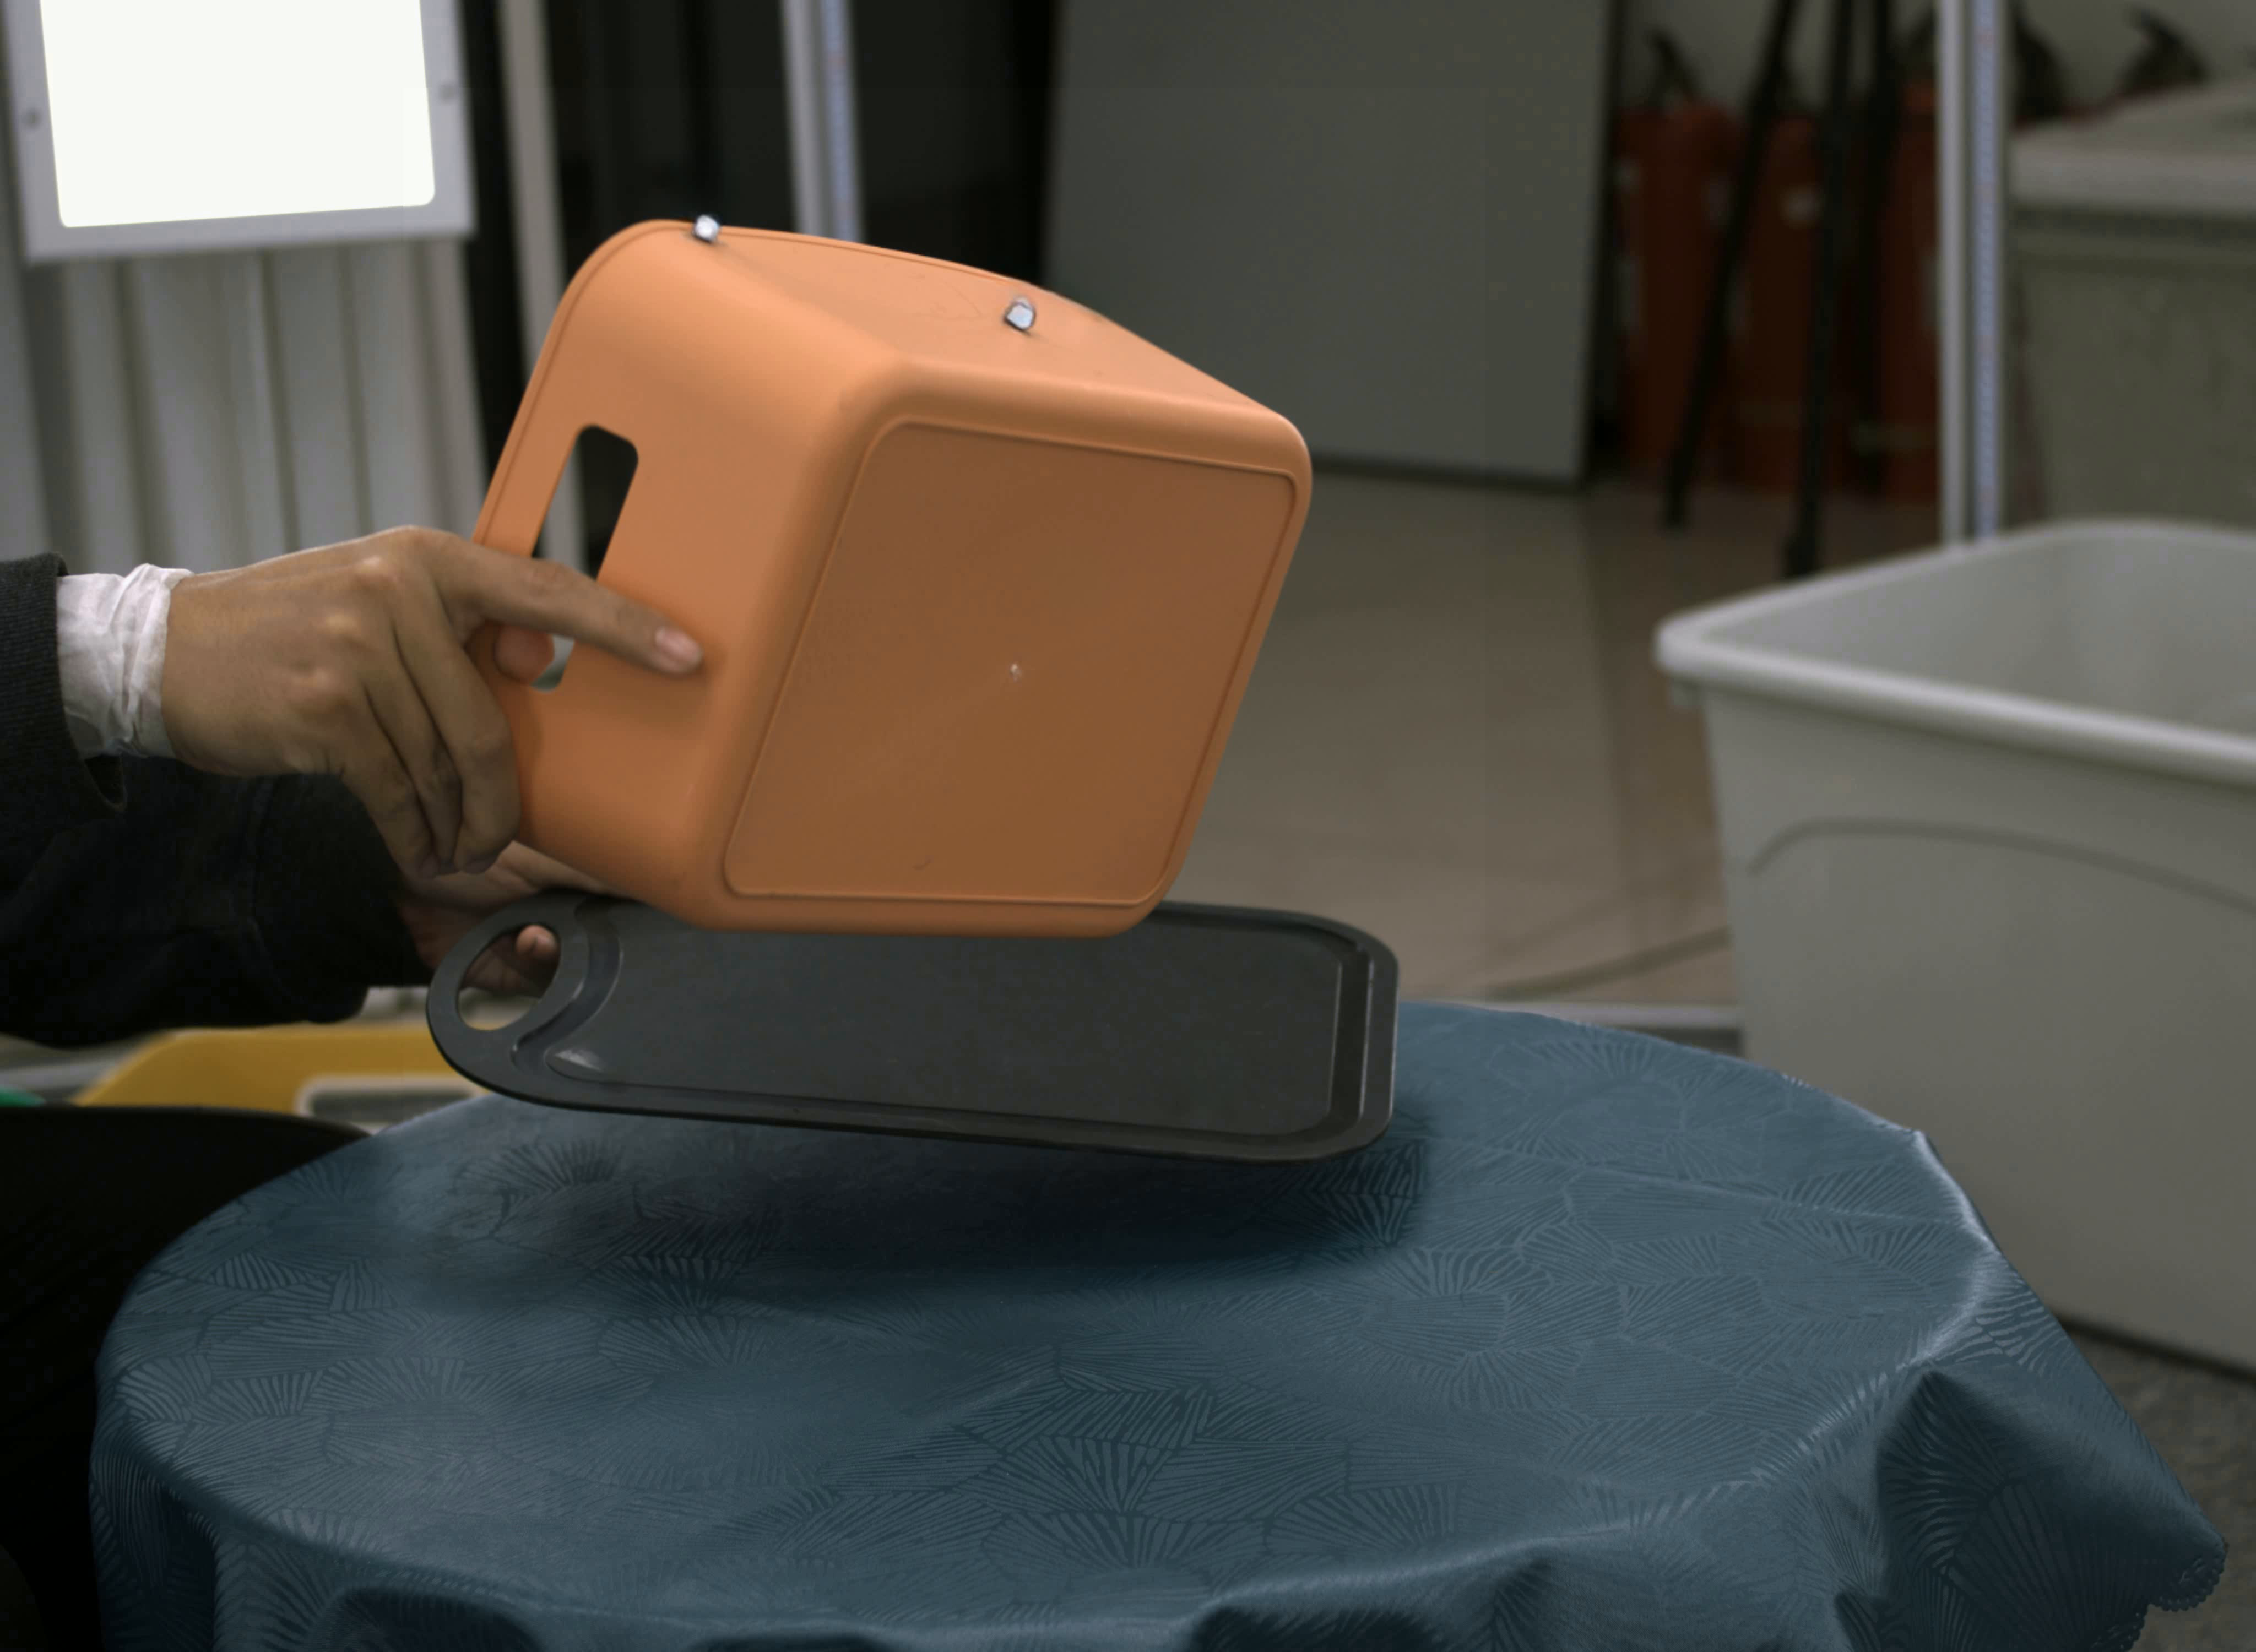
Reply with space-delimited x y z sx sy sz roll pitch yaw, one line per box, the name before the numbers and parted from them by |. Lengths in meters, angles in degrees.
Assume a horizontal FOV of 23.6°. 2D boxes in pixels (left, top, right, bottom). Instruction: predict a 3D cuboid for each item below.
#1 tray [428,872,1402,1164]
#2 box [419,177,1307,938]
tray | -0.070 0.060 1.790 0.322 0.010 0.211 4 21 4
box | -0.068 -0.067 1.587 0.103 0.201 0.268 25 11 34
